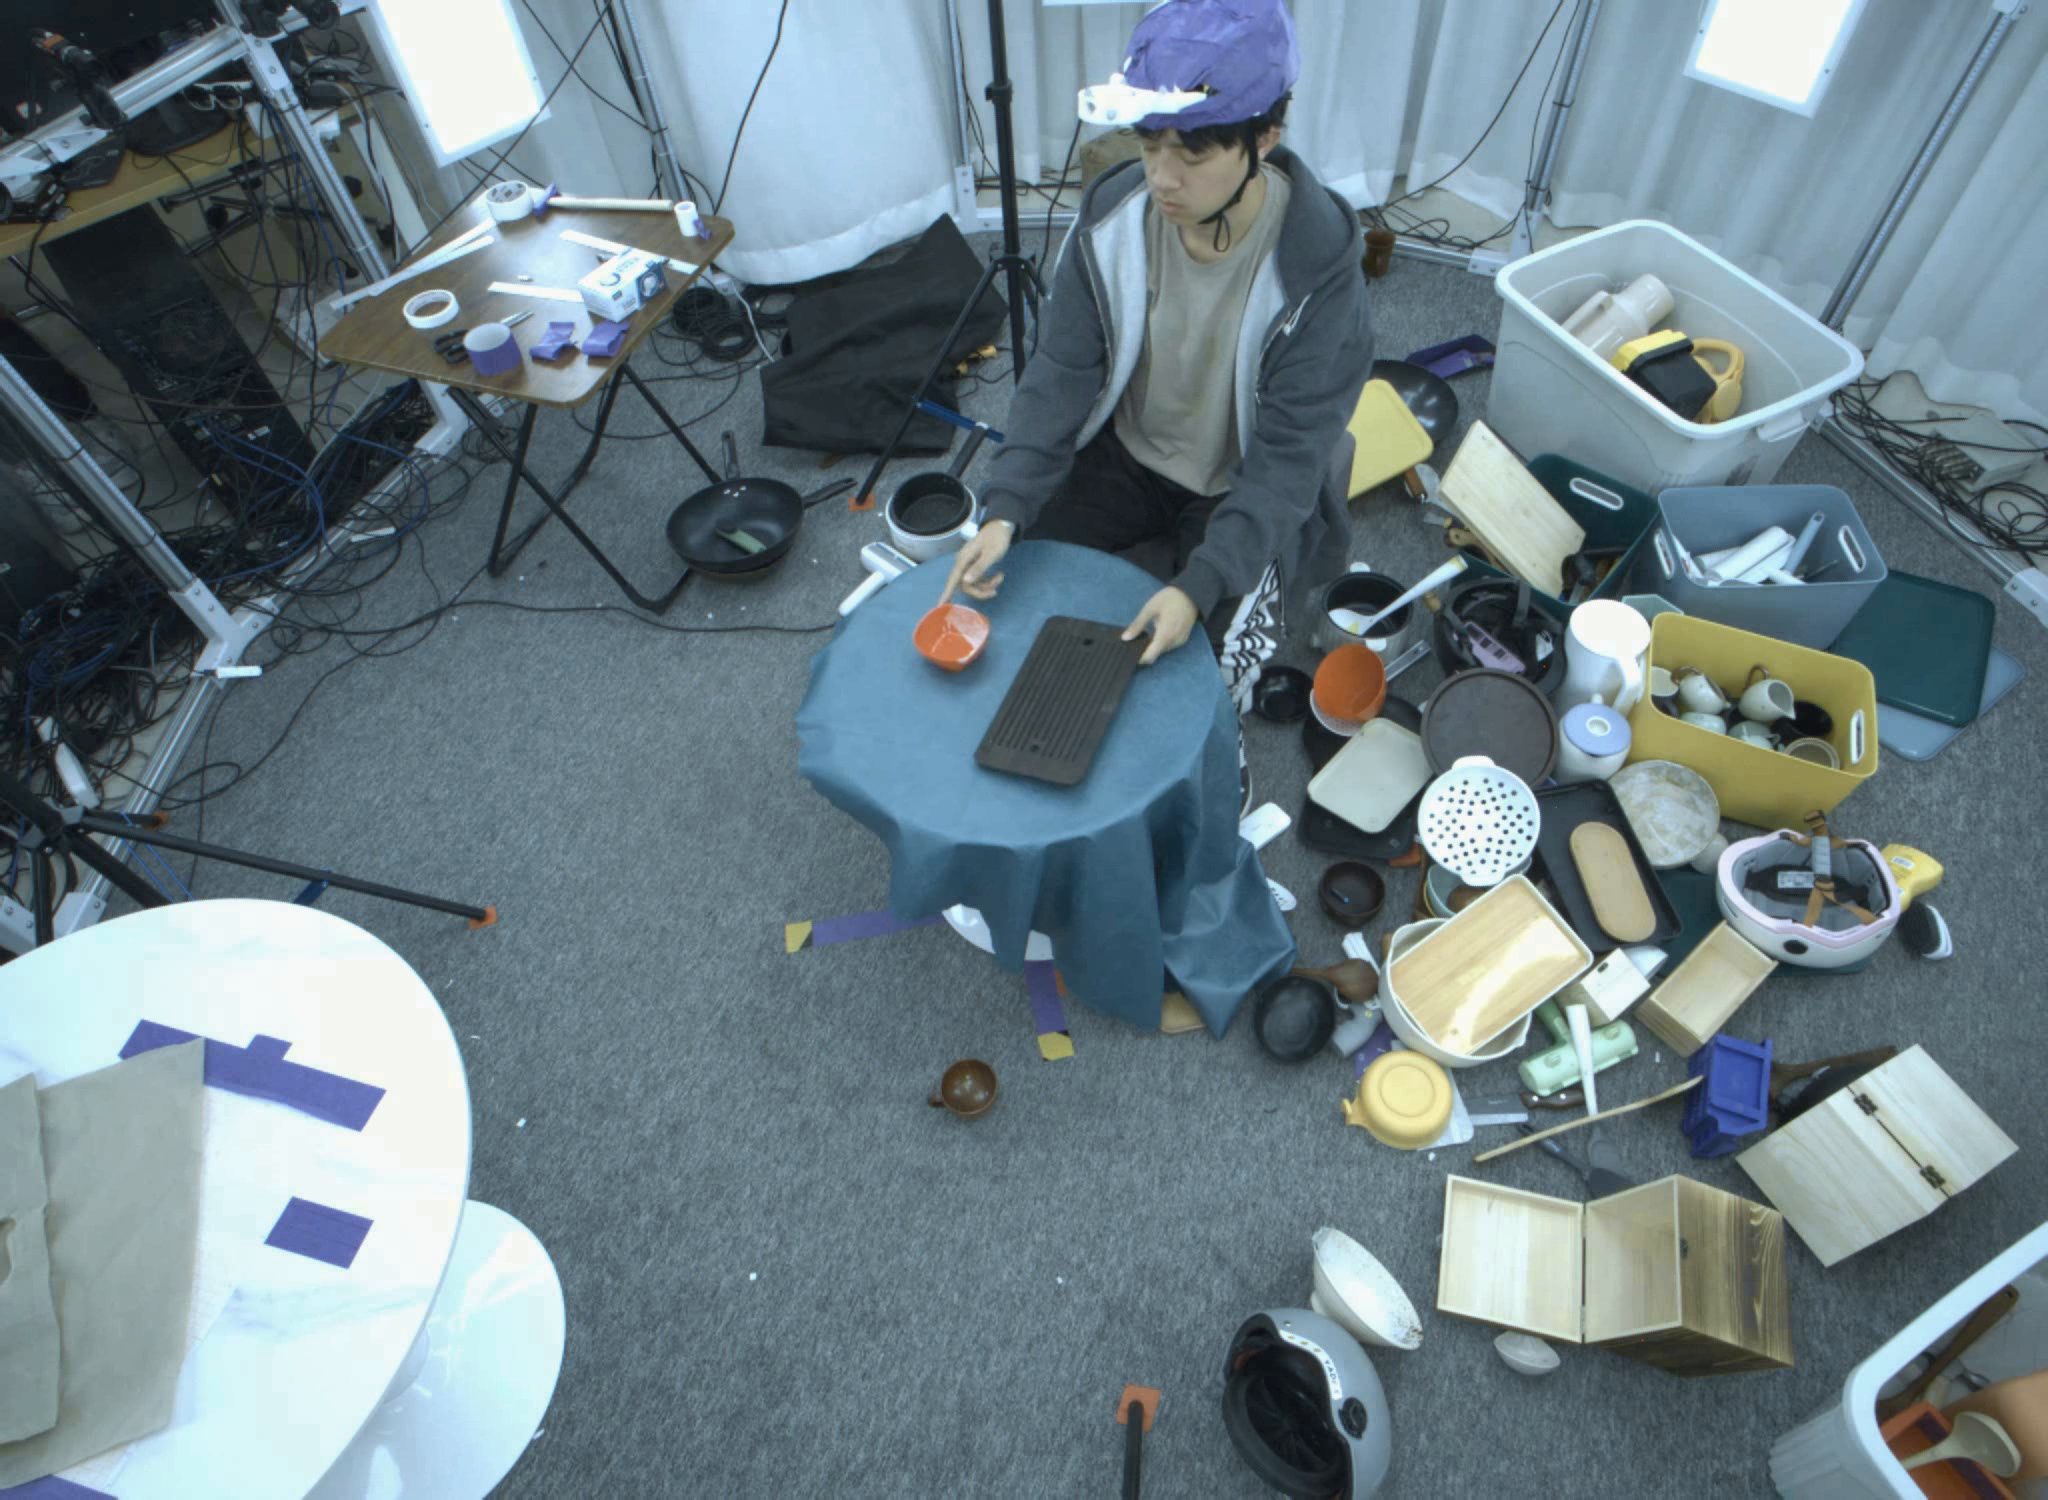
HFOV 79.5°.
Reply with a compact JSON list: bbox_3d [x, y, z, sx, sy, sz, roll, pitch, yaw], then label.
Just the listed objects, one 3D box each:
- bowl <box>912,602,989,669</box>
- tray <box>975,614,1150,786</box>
[{"bbox_3d":[-0.109,-0.168,1.877,0.118,0.052,0.118,-2,58,5],"label":"bowl"},{"bbox_3d":[0.061,-0.078,1.820,0.167,0.019,0.306,13,56,20],"label":"tray"}]
